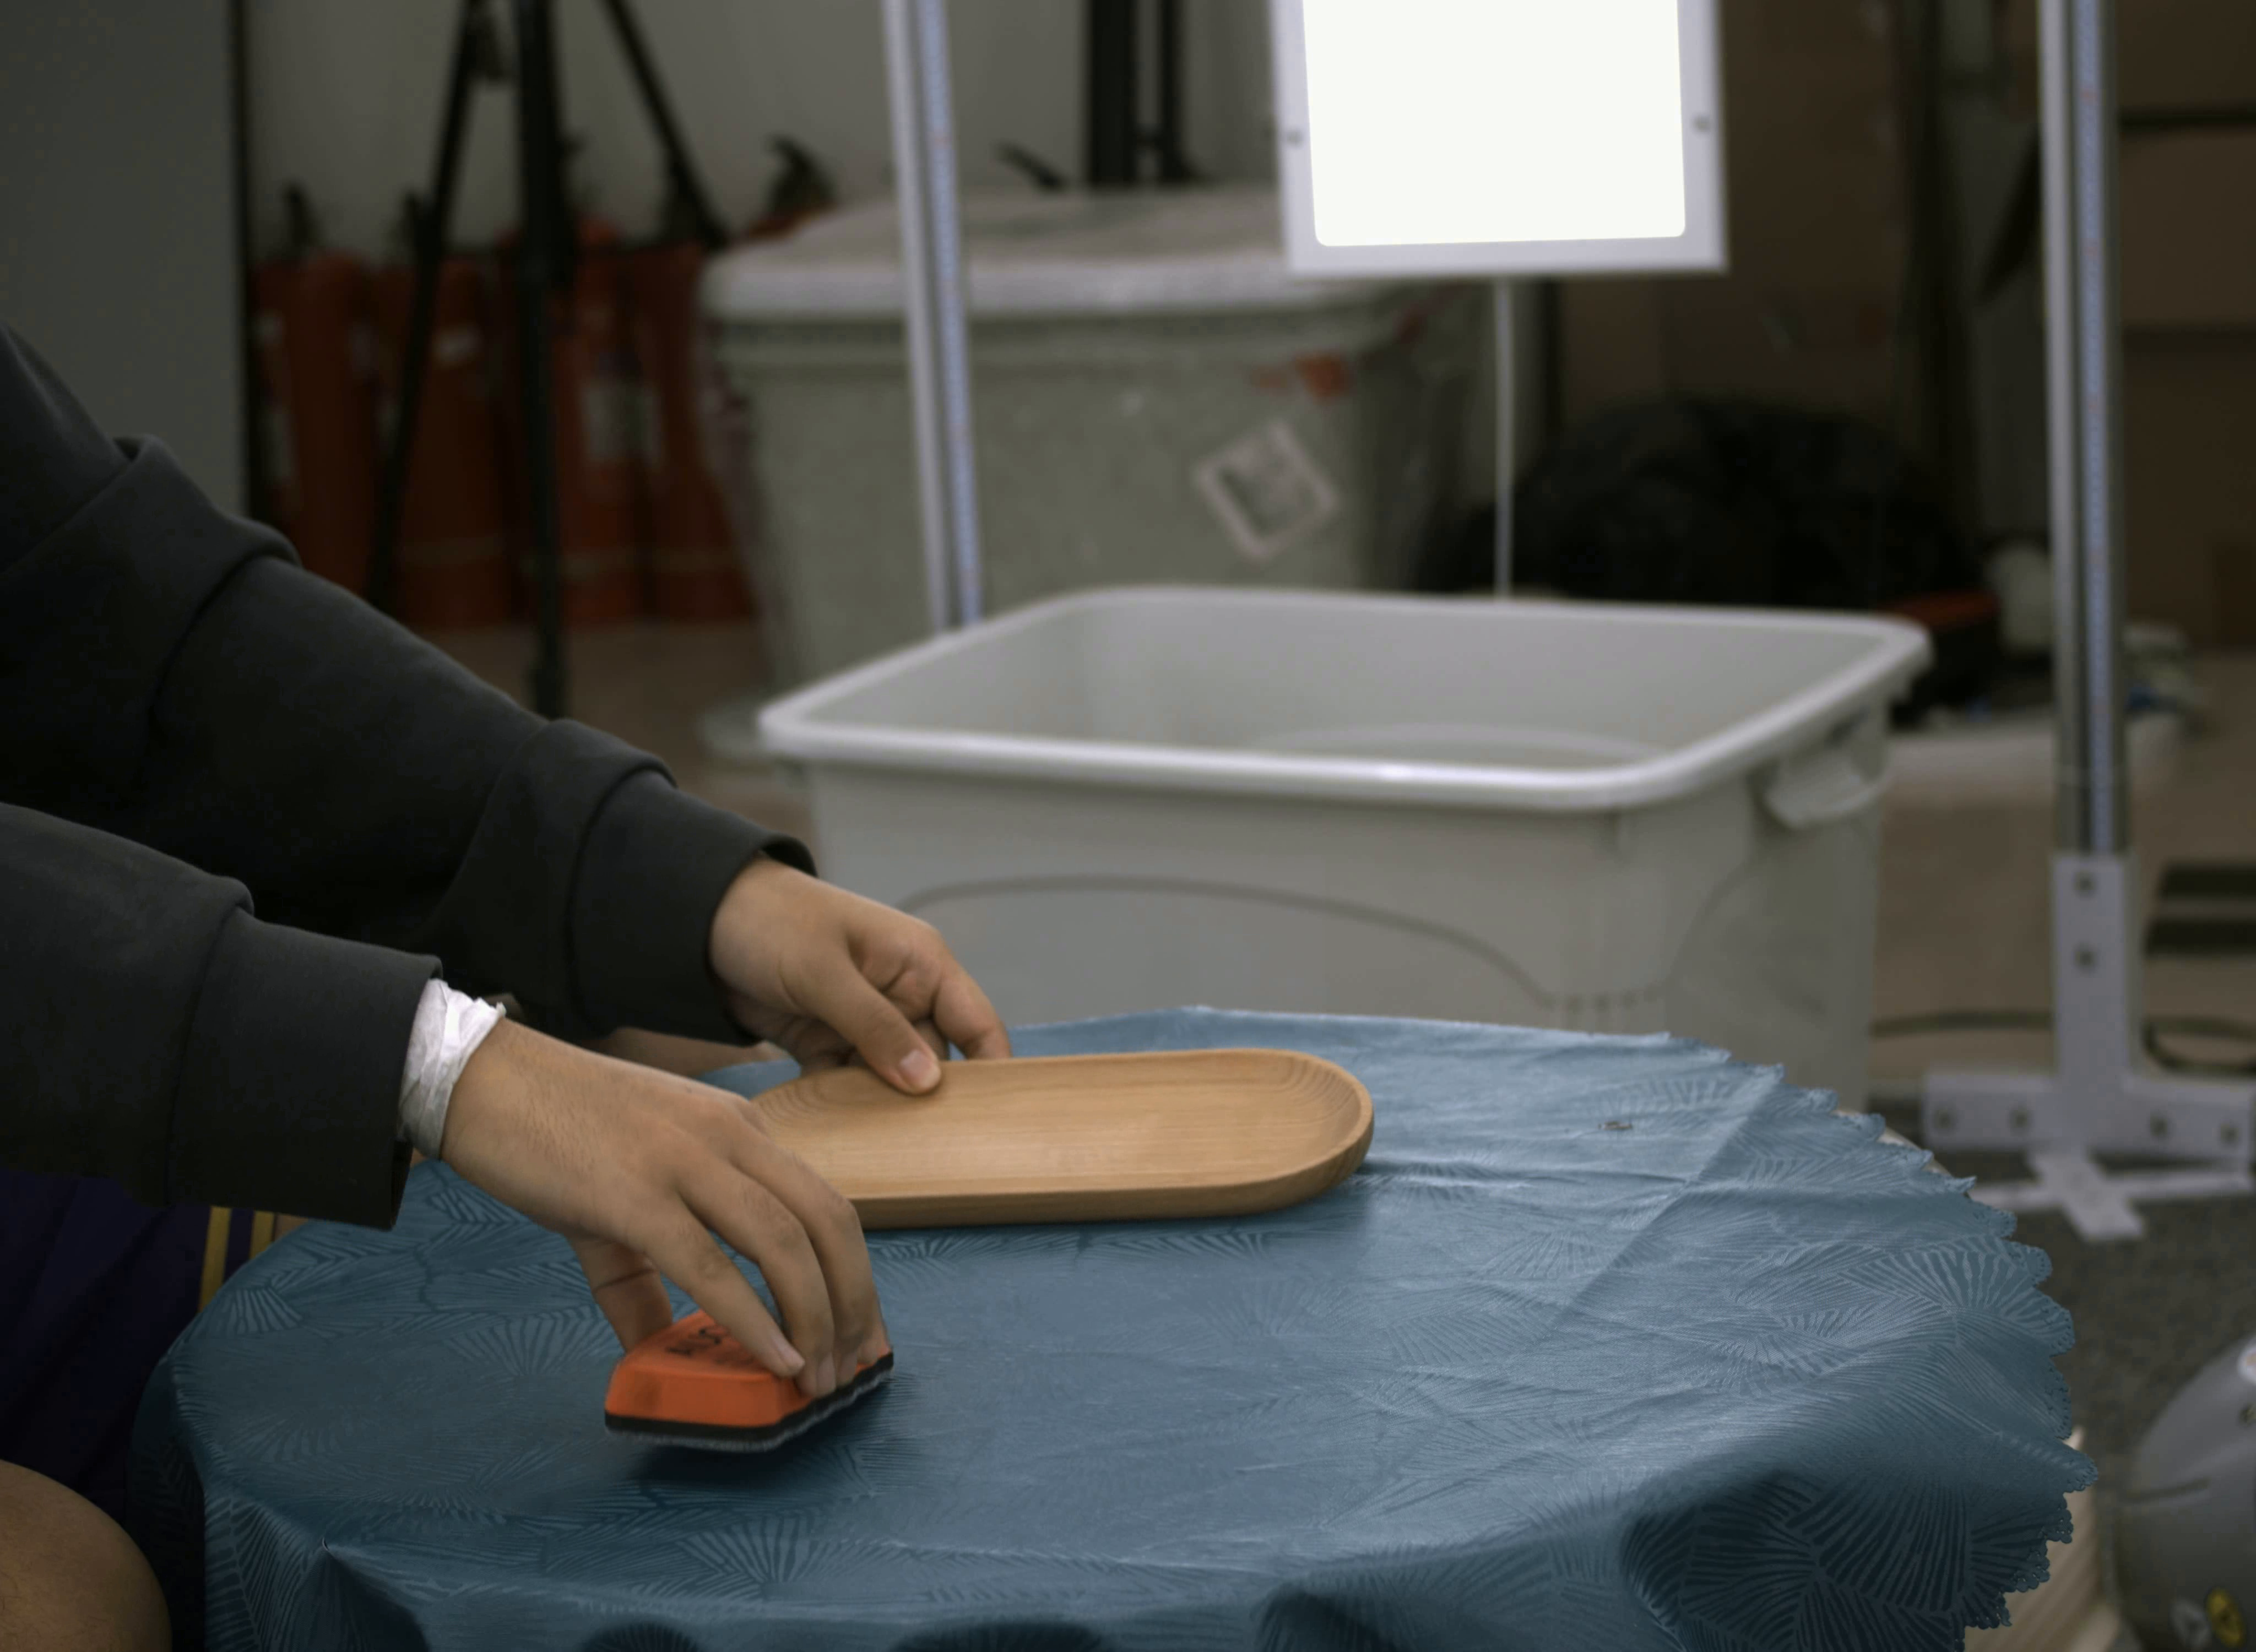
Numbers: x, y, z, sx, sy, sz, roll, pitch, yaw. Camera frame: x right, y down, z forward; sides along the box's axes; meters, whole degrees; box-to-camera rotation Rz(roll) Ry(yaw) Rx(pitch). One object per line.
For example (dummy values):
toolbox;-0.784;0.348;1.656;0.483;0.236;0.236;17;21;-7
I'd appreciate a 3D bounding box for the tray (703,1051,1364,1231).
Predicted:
tray;-0.033;0.110;1.909;0.232;0.020;0.101;-4;23;9

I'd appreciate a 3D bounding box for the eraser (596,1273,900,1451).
eraser;-0.115;0.164;1.692;0.060;0.023;0.106;12;13;21
